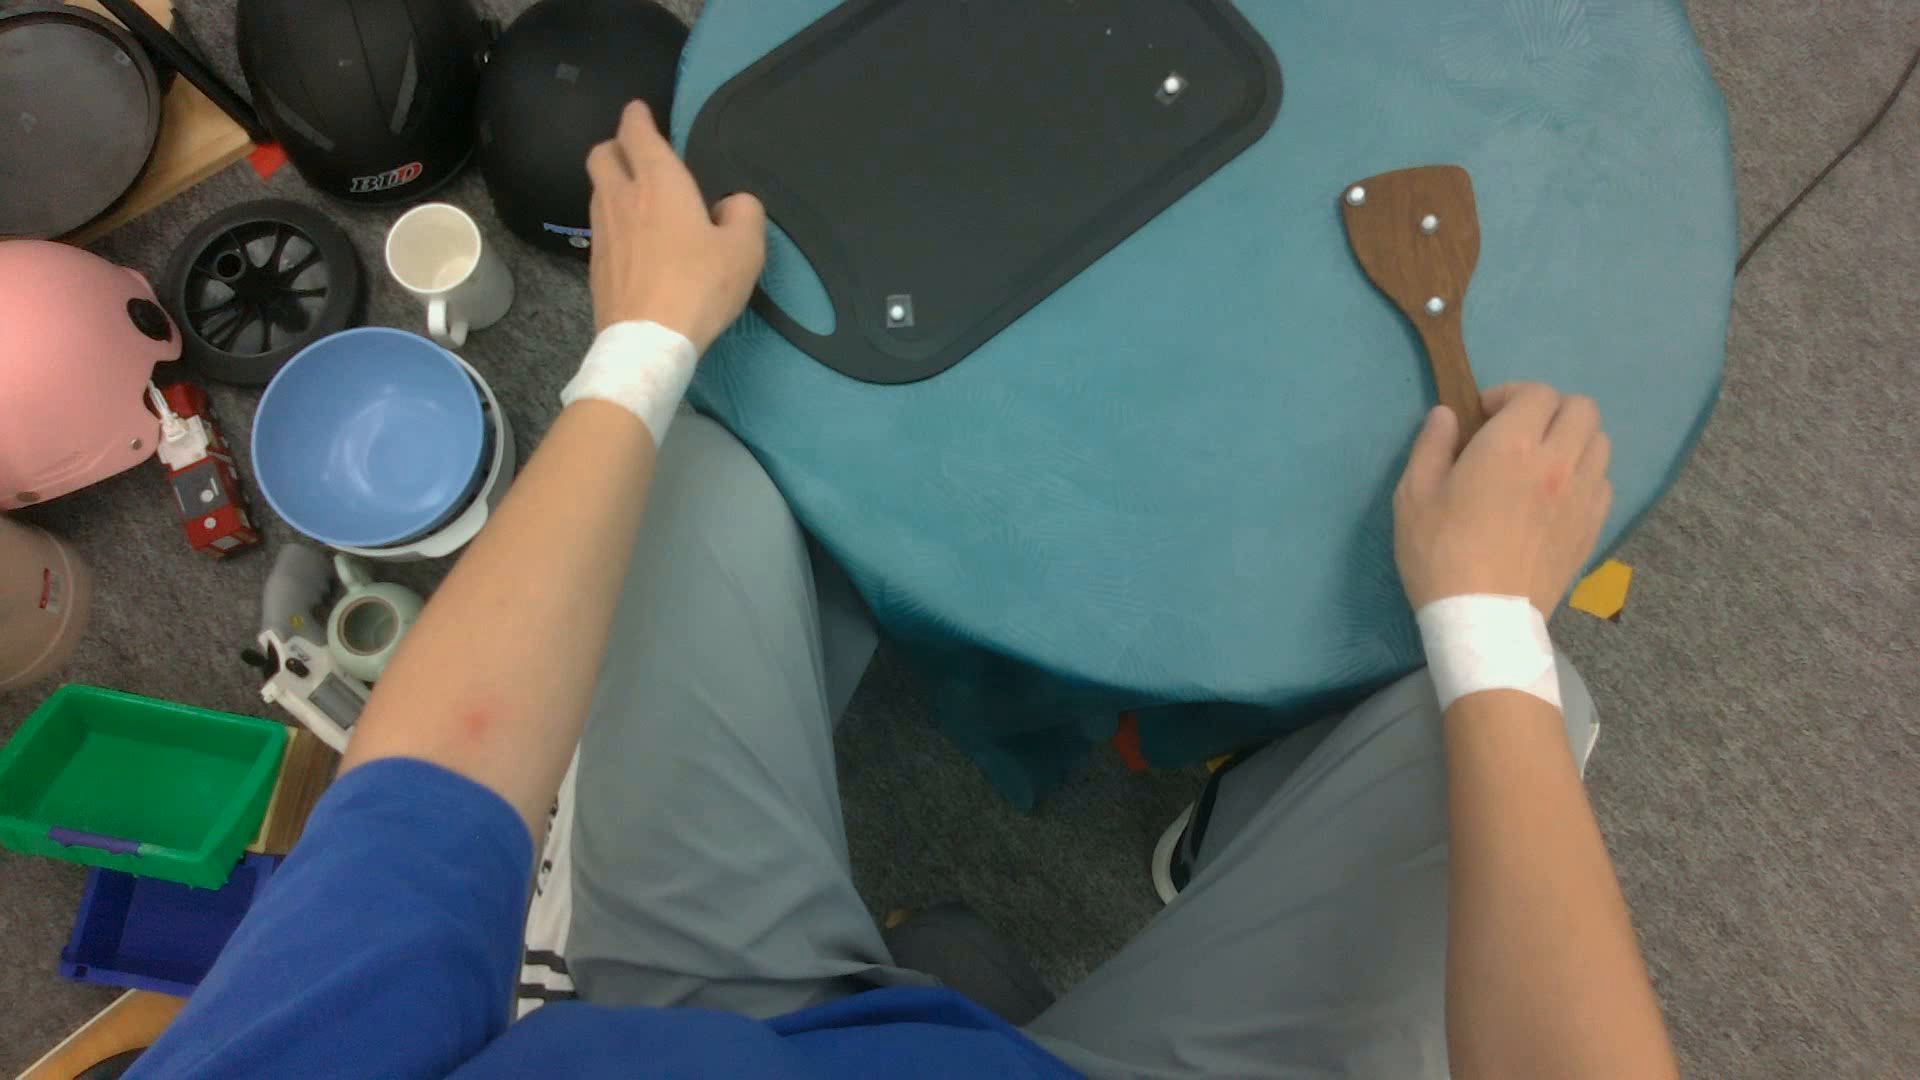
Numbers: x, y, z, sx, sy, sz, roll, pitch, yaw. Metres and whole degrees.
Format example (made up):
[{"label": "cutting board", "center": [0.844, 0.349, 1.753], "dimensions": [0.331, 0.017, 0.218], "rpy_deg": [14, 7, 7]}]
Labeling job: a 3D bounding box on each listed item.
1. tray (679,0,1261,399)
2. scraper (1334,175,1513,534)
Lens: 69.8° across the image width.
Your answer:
[{"label": "tray", "center": [0.001, -0.226, 0.786], "dimensions": [0.326, 0.010, 0.211], "rpy_deg": [-38, 80, -8]}, {"label": "scraper", "center": [0.262, -0.104, 0.753], "dimensions": [0.076, 0.011, 0.212], "rpy_deg": [-9, 73, 0]}]
